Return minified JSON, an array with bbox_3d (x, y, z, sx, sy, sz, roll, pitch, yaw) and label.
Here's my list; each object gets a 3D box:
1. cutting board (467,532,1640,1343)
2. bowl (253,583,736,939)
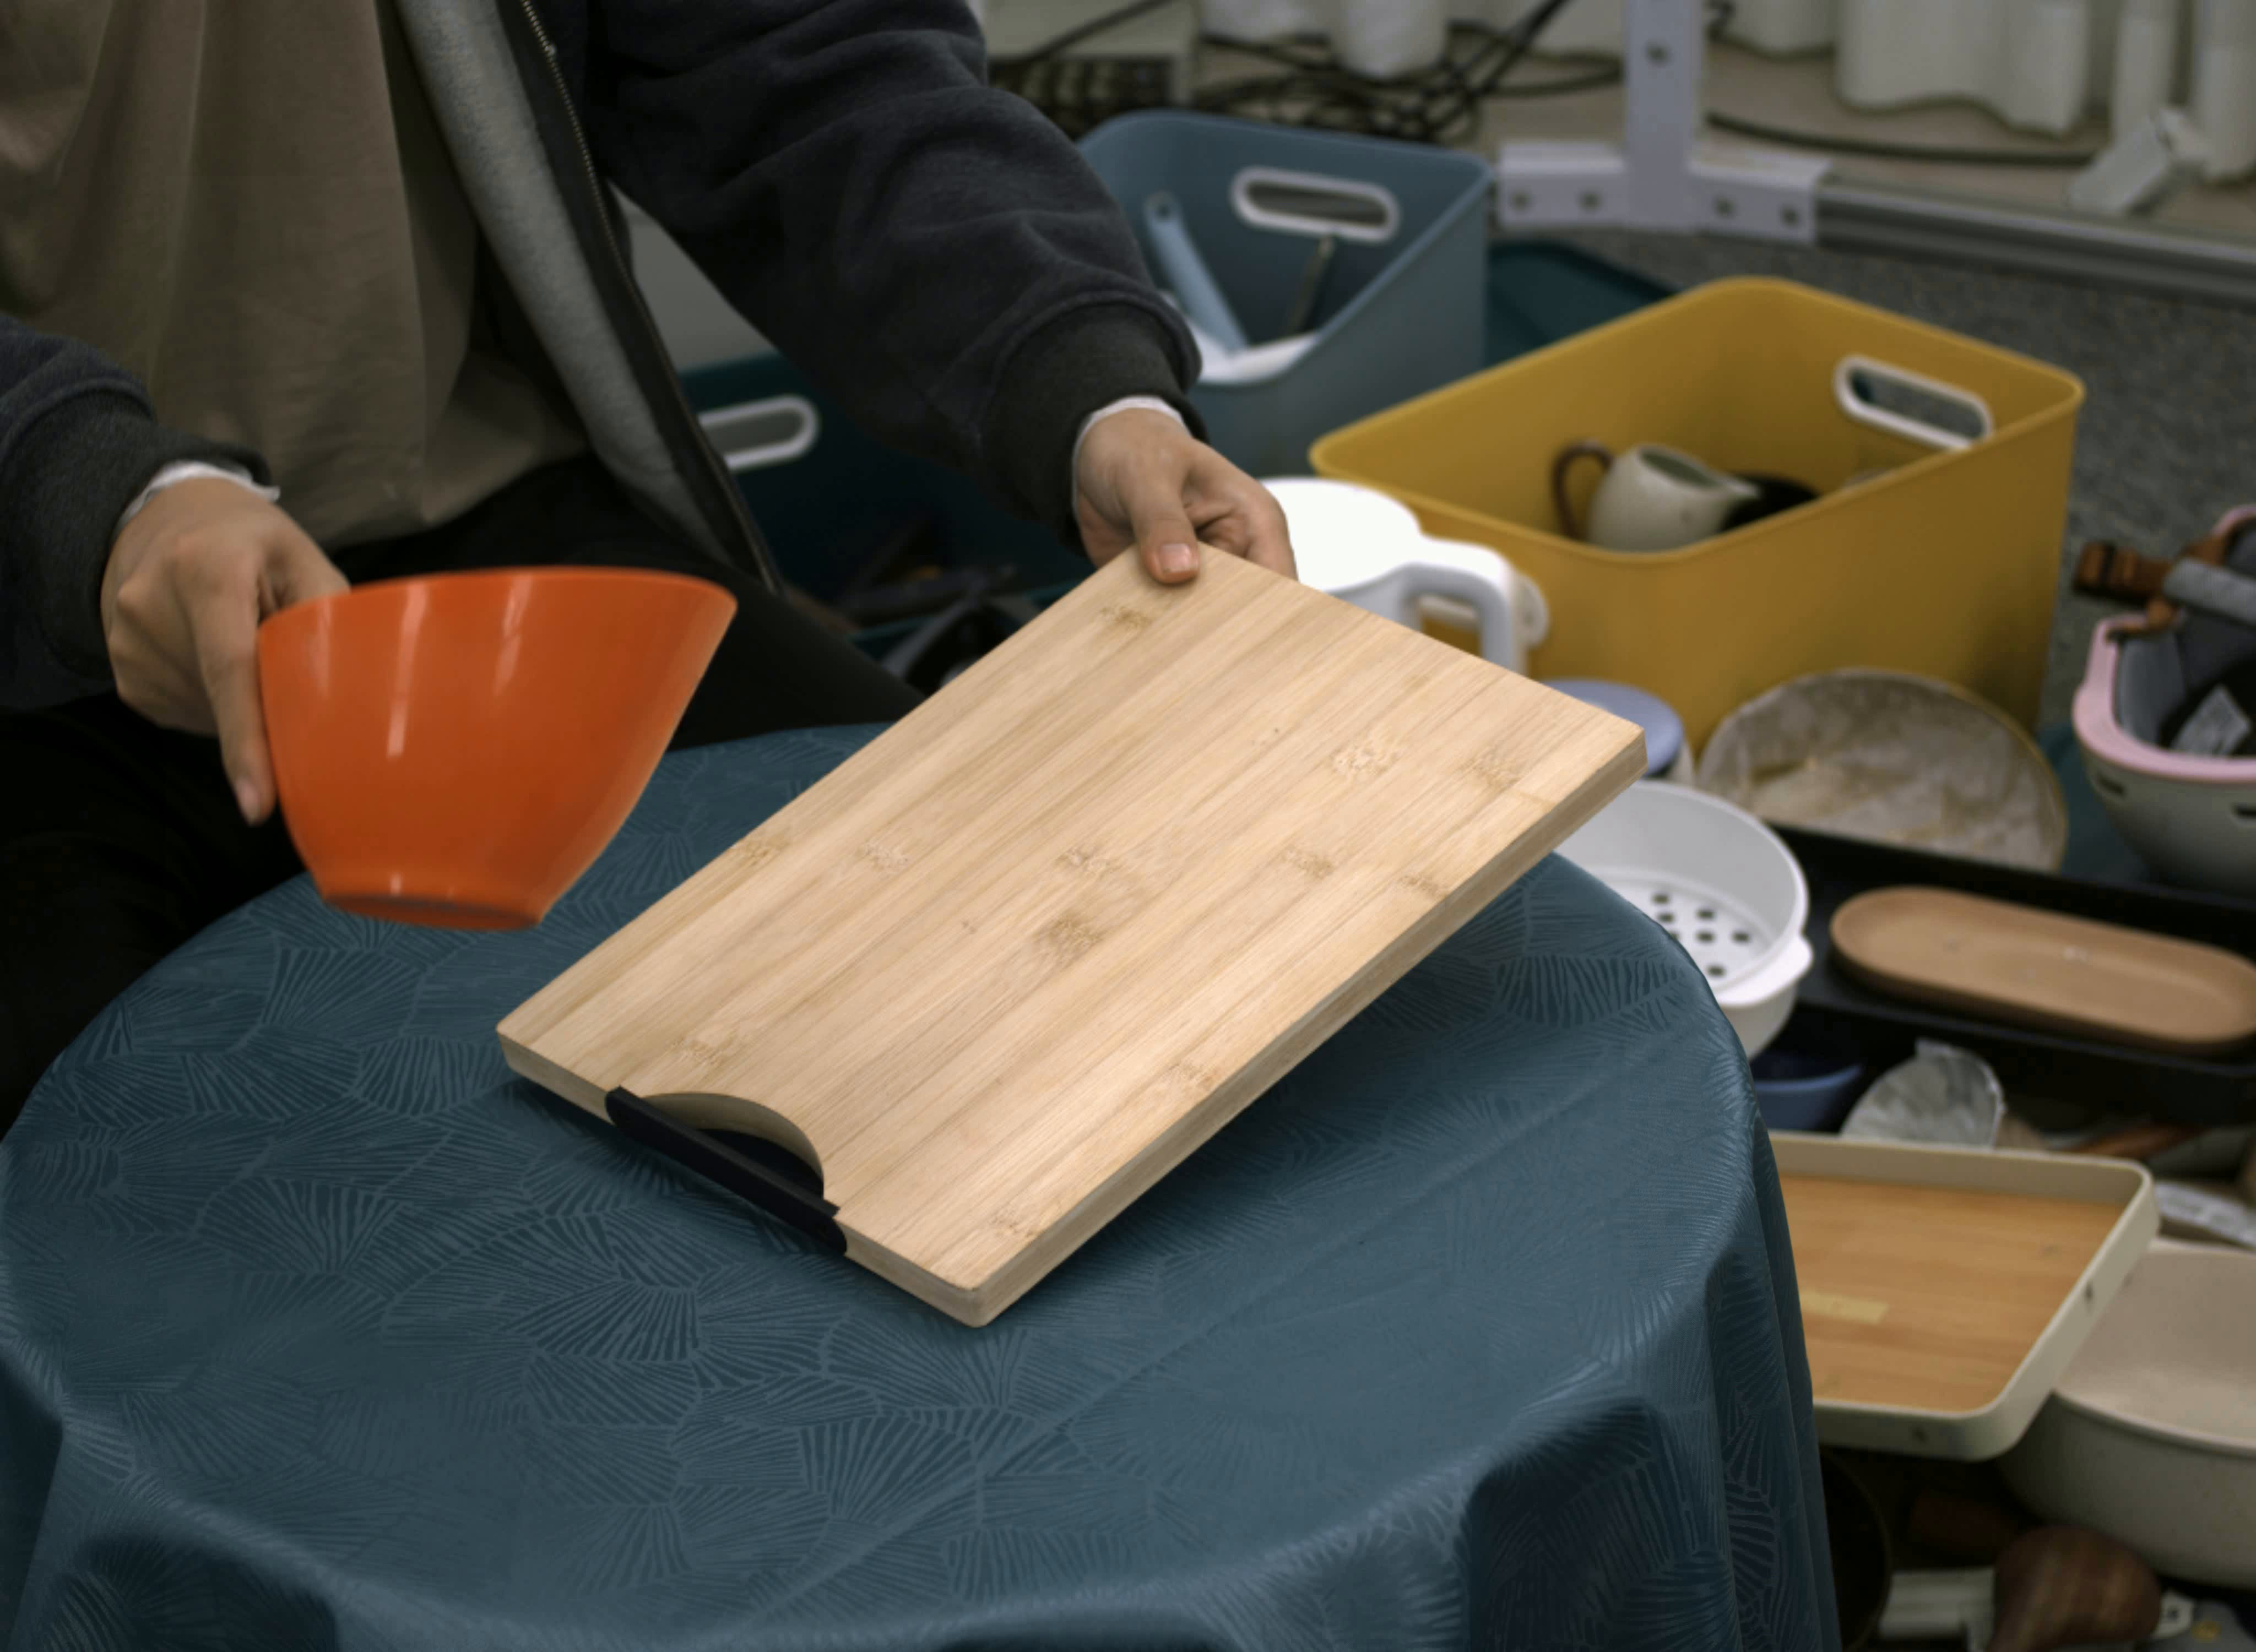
[{"bbox_3d":[-0.022,0.029,1.946,0.250,0.023,0.353,23,49,38],"label":"cutting board"},{"bbox_3d":[-0.198,-0.020,1.728,0.147,0.105,0.147,5,-8,1],"label":"bowl"}]
